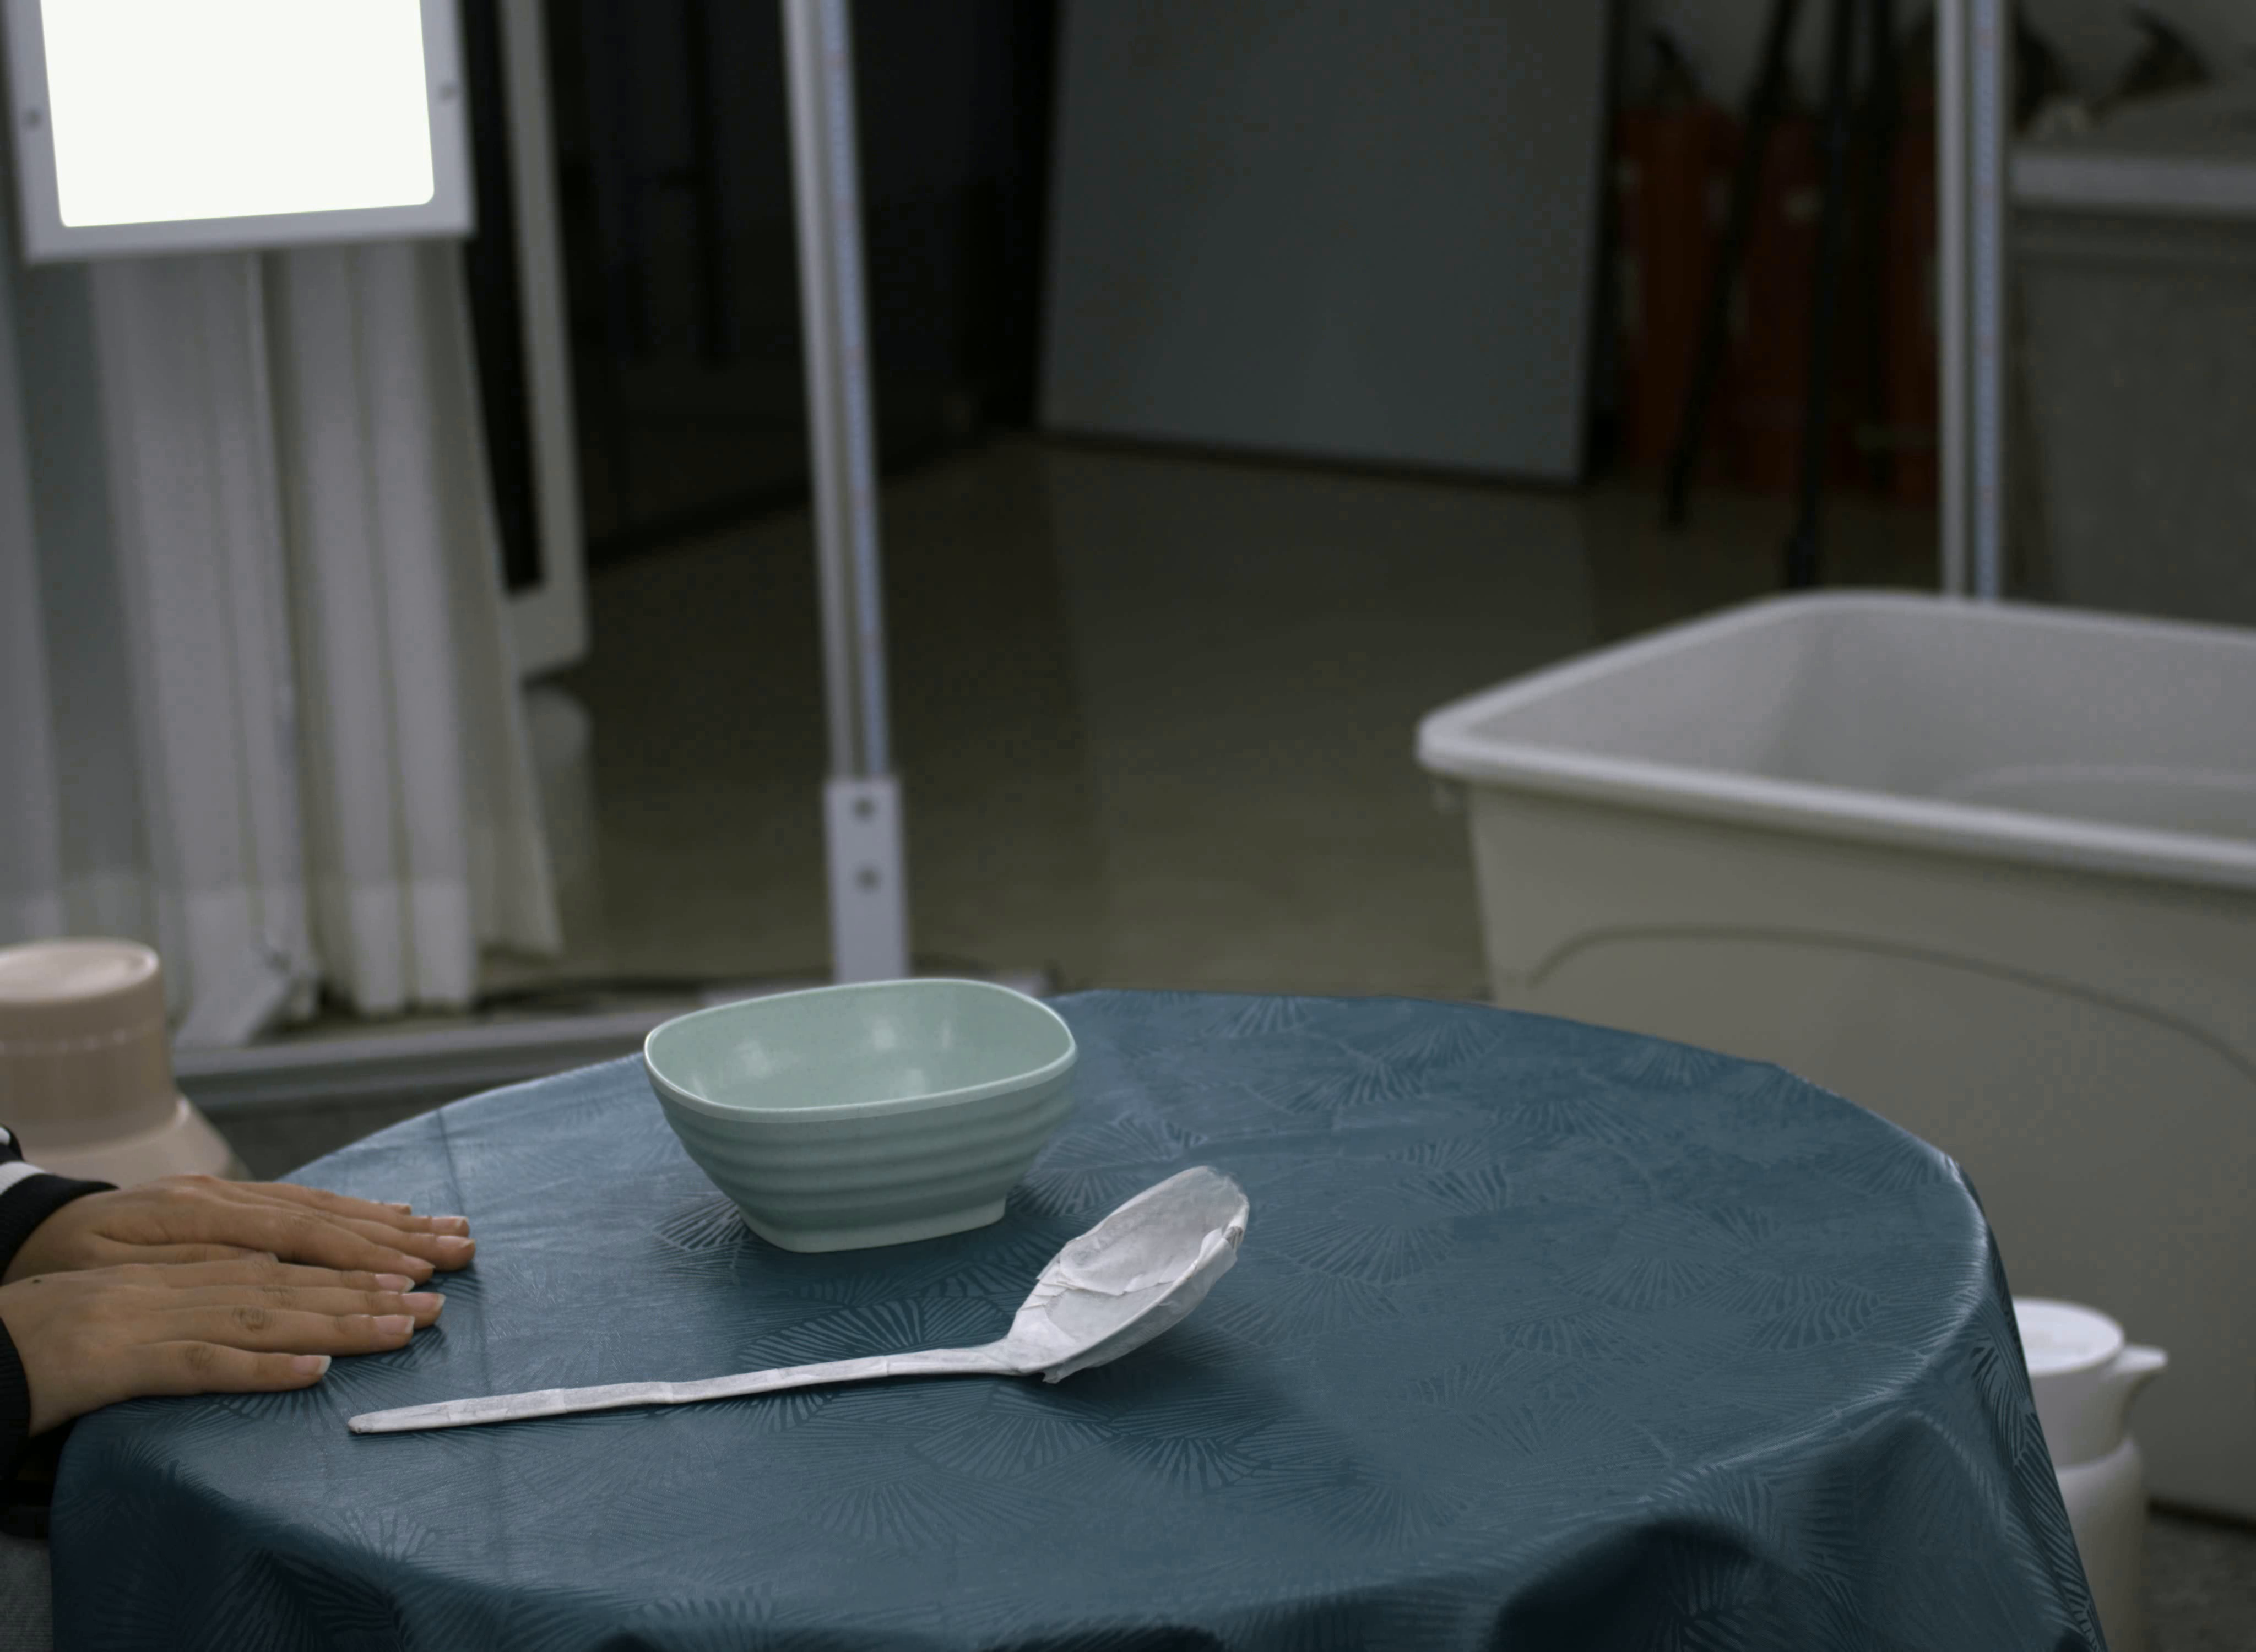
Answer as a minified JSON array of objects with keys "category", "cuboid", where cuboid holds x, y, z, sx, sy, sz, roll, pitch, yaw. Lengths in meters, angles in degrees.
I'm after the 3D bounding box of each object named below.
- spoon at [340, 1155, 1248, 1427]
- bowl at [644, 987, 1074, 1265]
[{"category":"spoon","cuboid":[-0.099,0.138,1.611,0.274,0.060,0.101,-4,9,0]},{"category":"bowl","cuboid":[-0.086,0.101,1.767,0.149,0.059,0.152,-4,14,0]}]
